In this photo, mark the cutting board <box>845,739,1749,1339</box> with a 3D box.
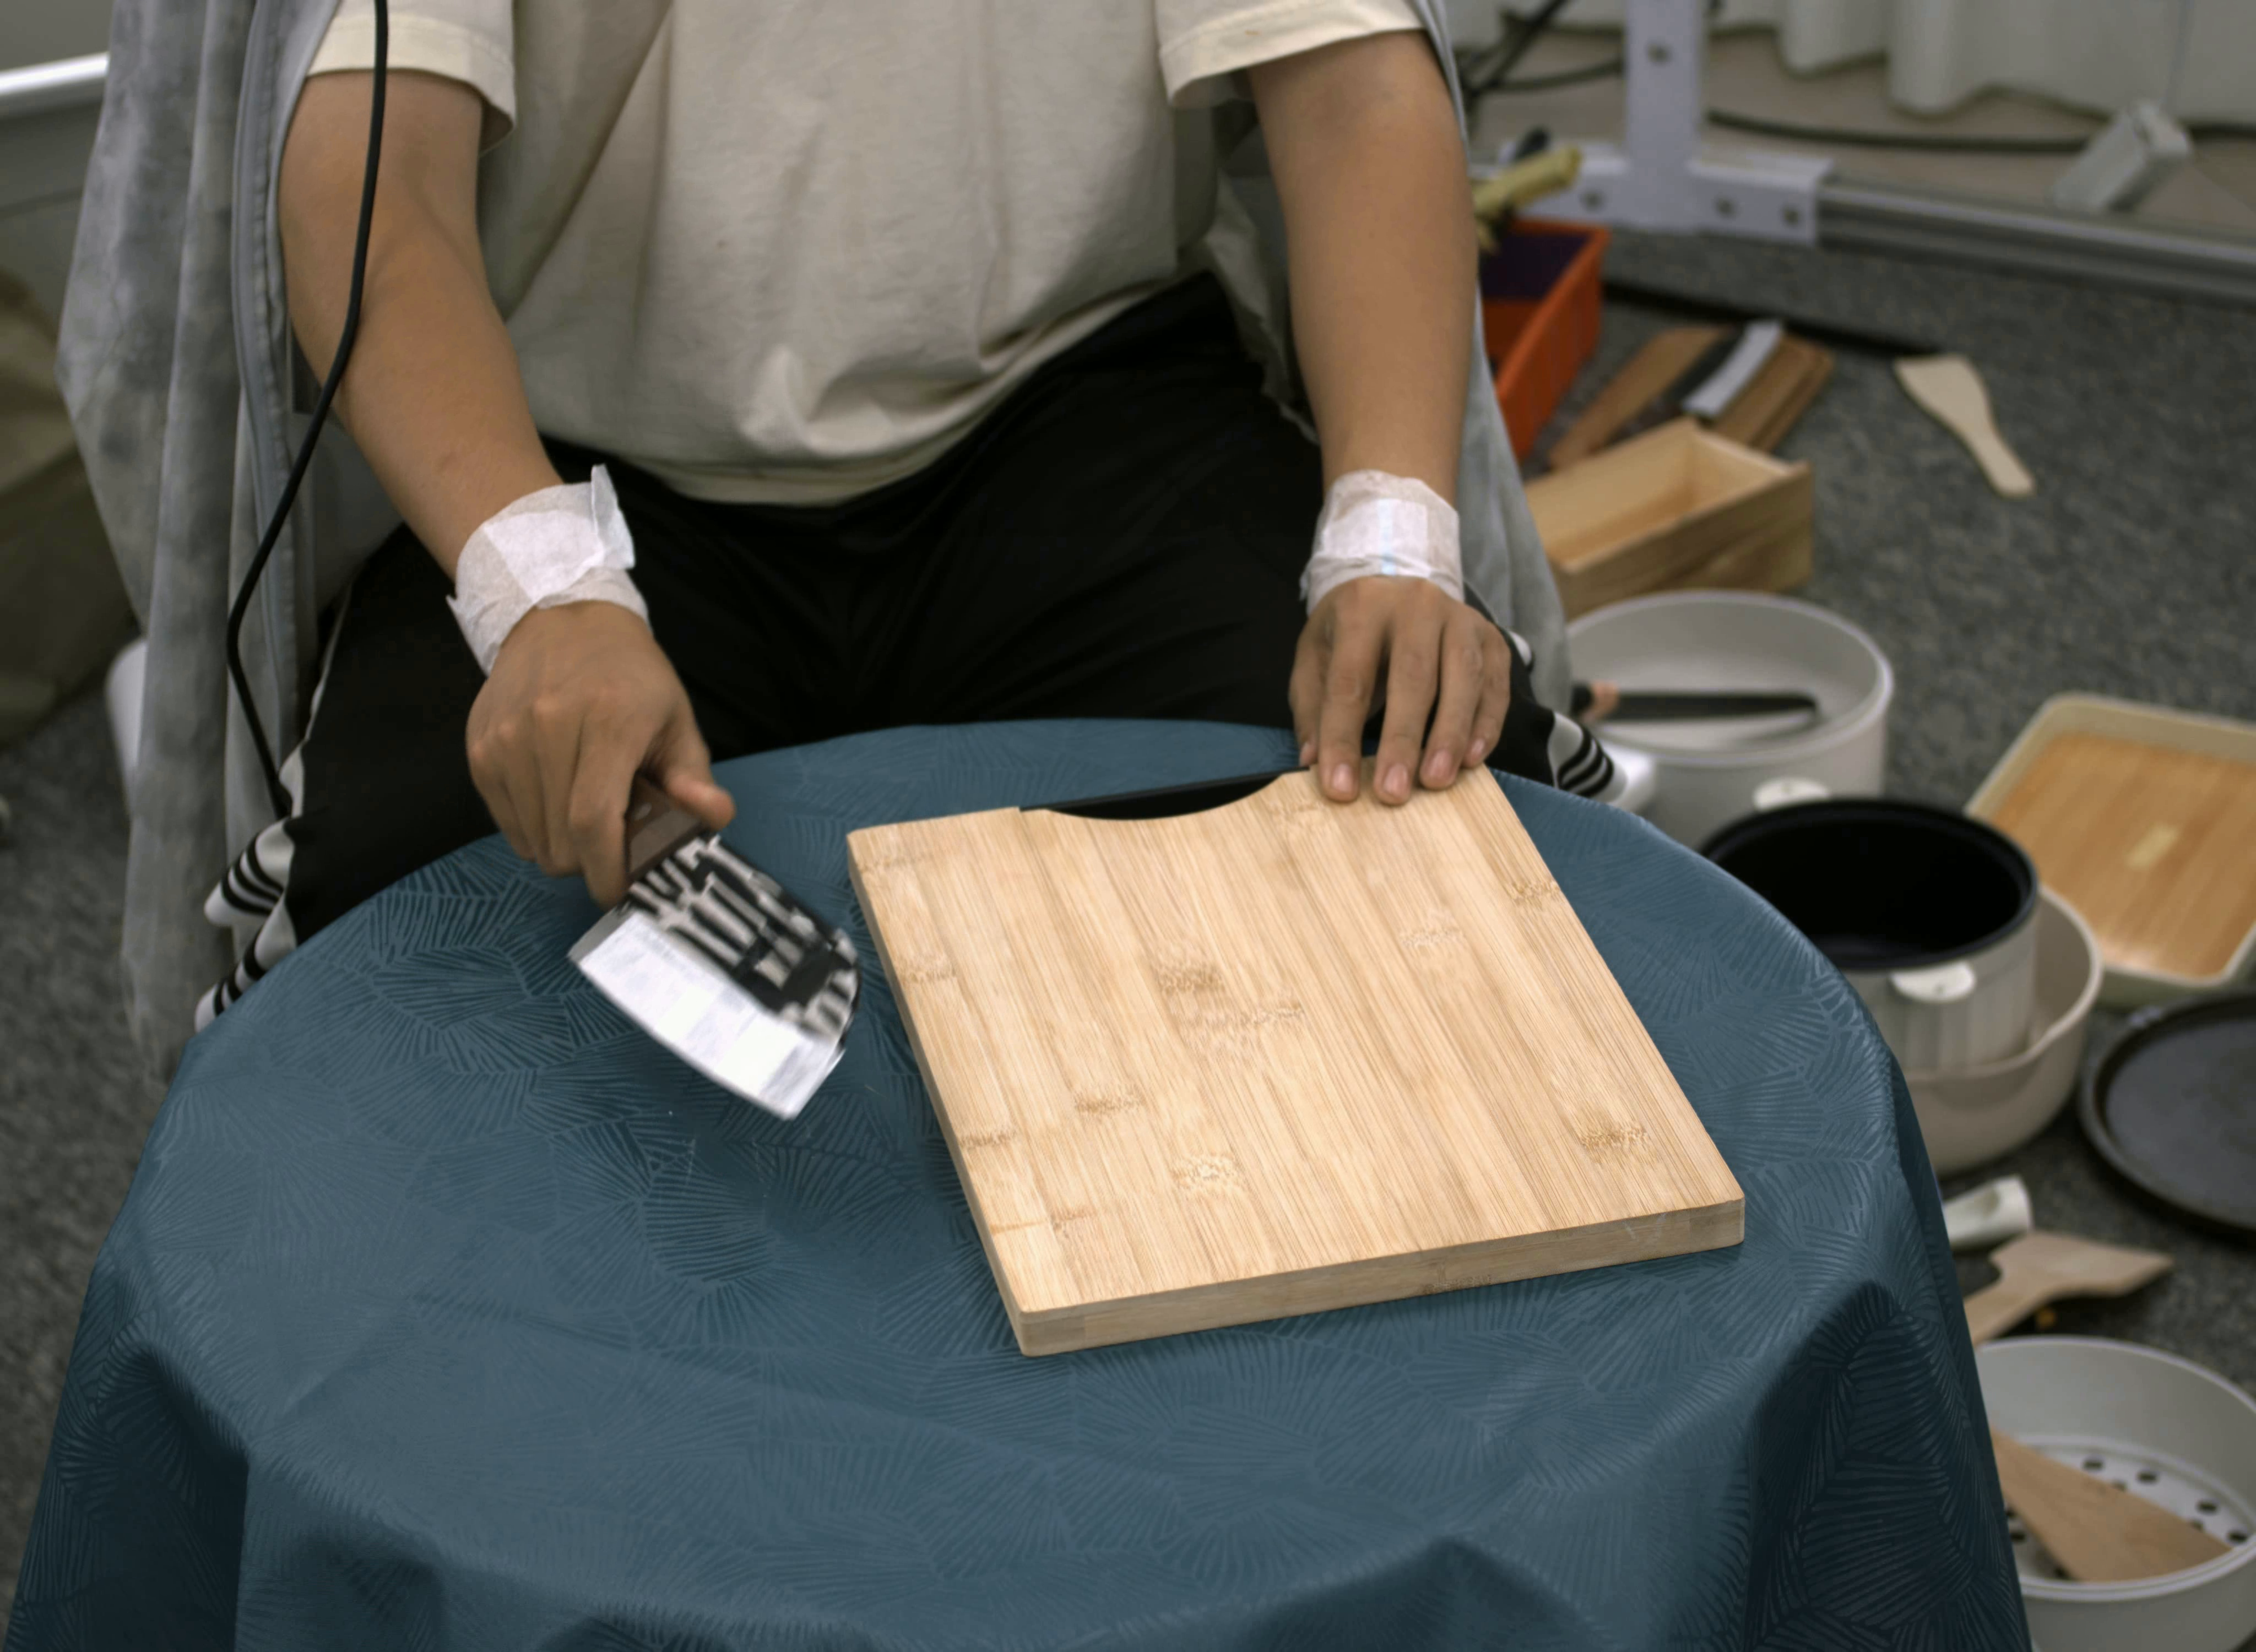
[{"bbox_3d":[0.048,0.067,1.943,0.250,0.023,0.352,-8,27,-11],"label":"cutting board"}]

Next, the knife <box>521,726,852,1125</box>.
[{"bbox_3d":[-0.161,0.033,1.936,0.068,0.024,0.300,-40,32,-9],"label":"knife"}]
